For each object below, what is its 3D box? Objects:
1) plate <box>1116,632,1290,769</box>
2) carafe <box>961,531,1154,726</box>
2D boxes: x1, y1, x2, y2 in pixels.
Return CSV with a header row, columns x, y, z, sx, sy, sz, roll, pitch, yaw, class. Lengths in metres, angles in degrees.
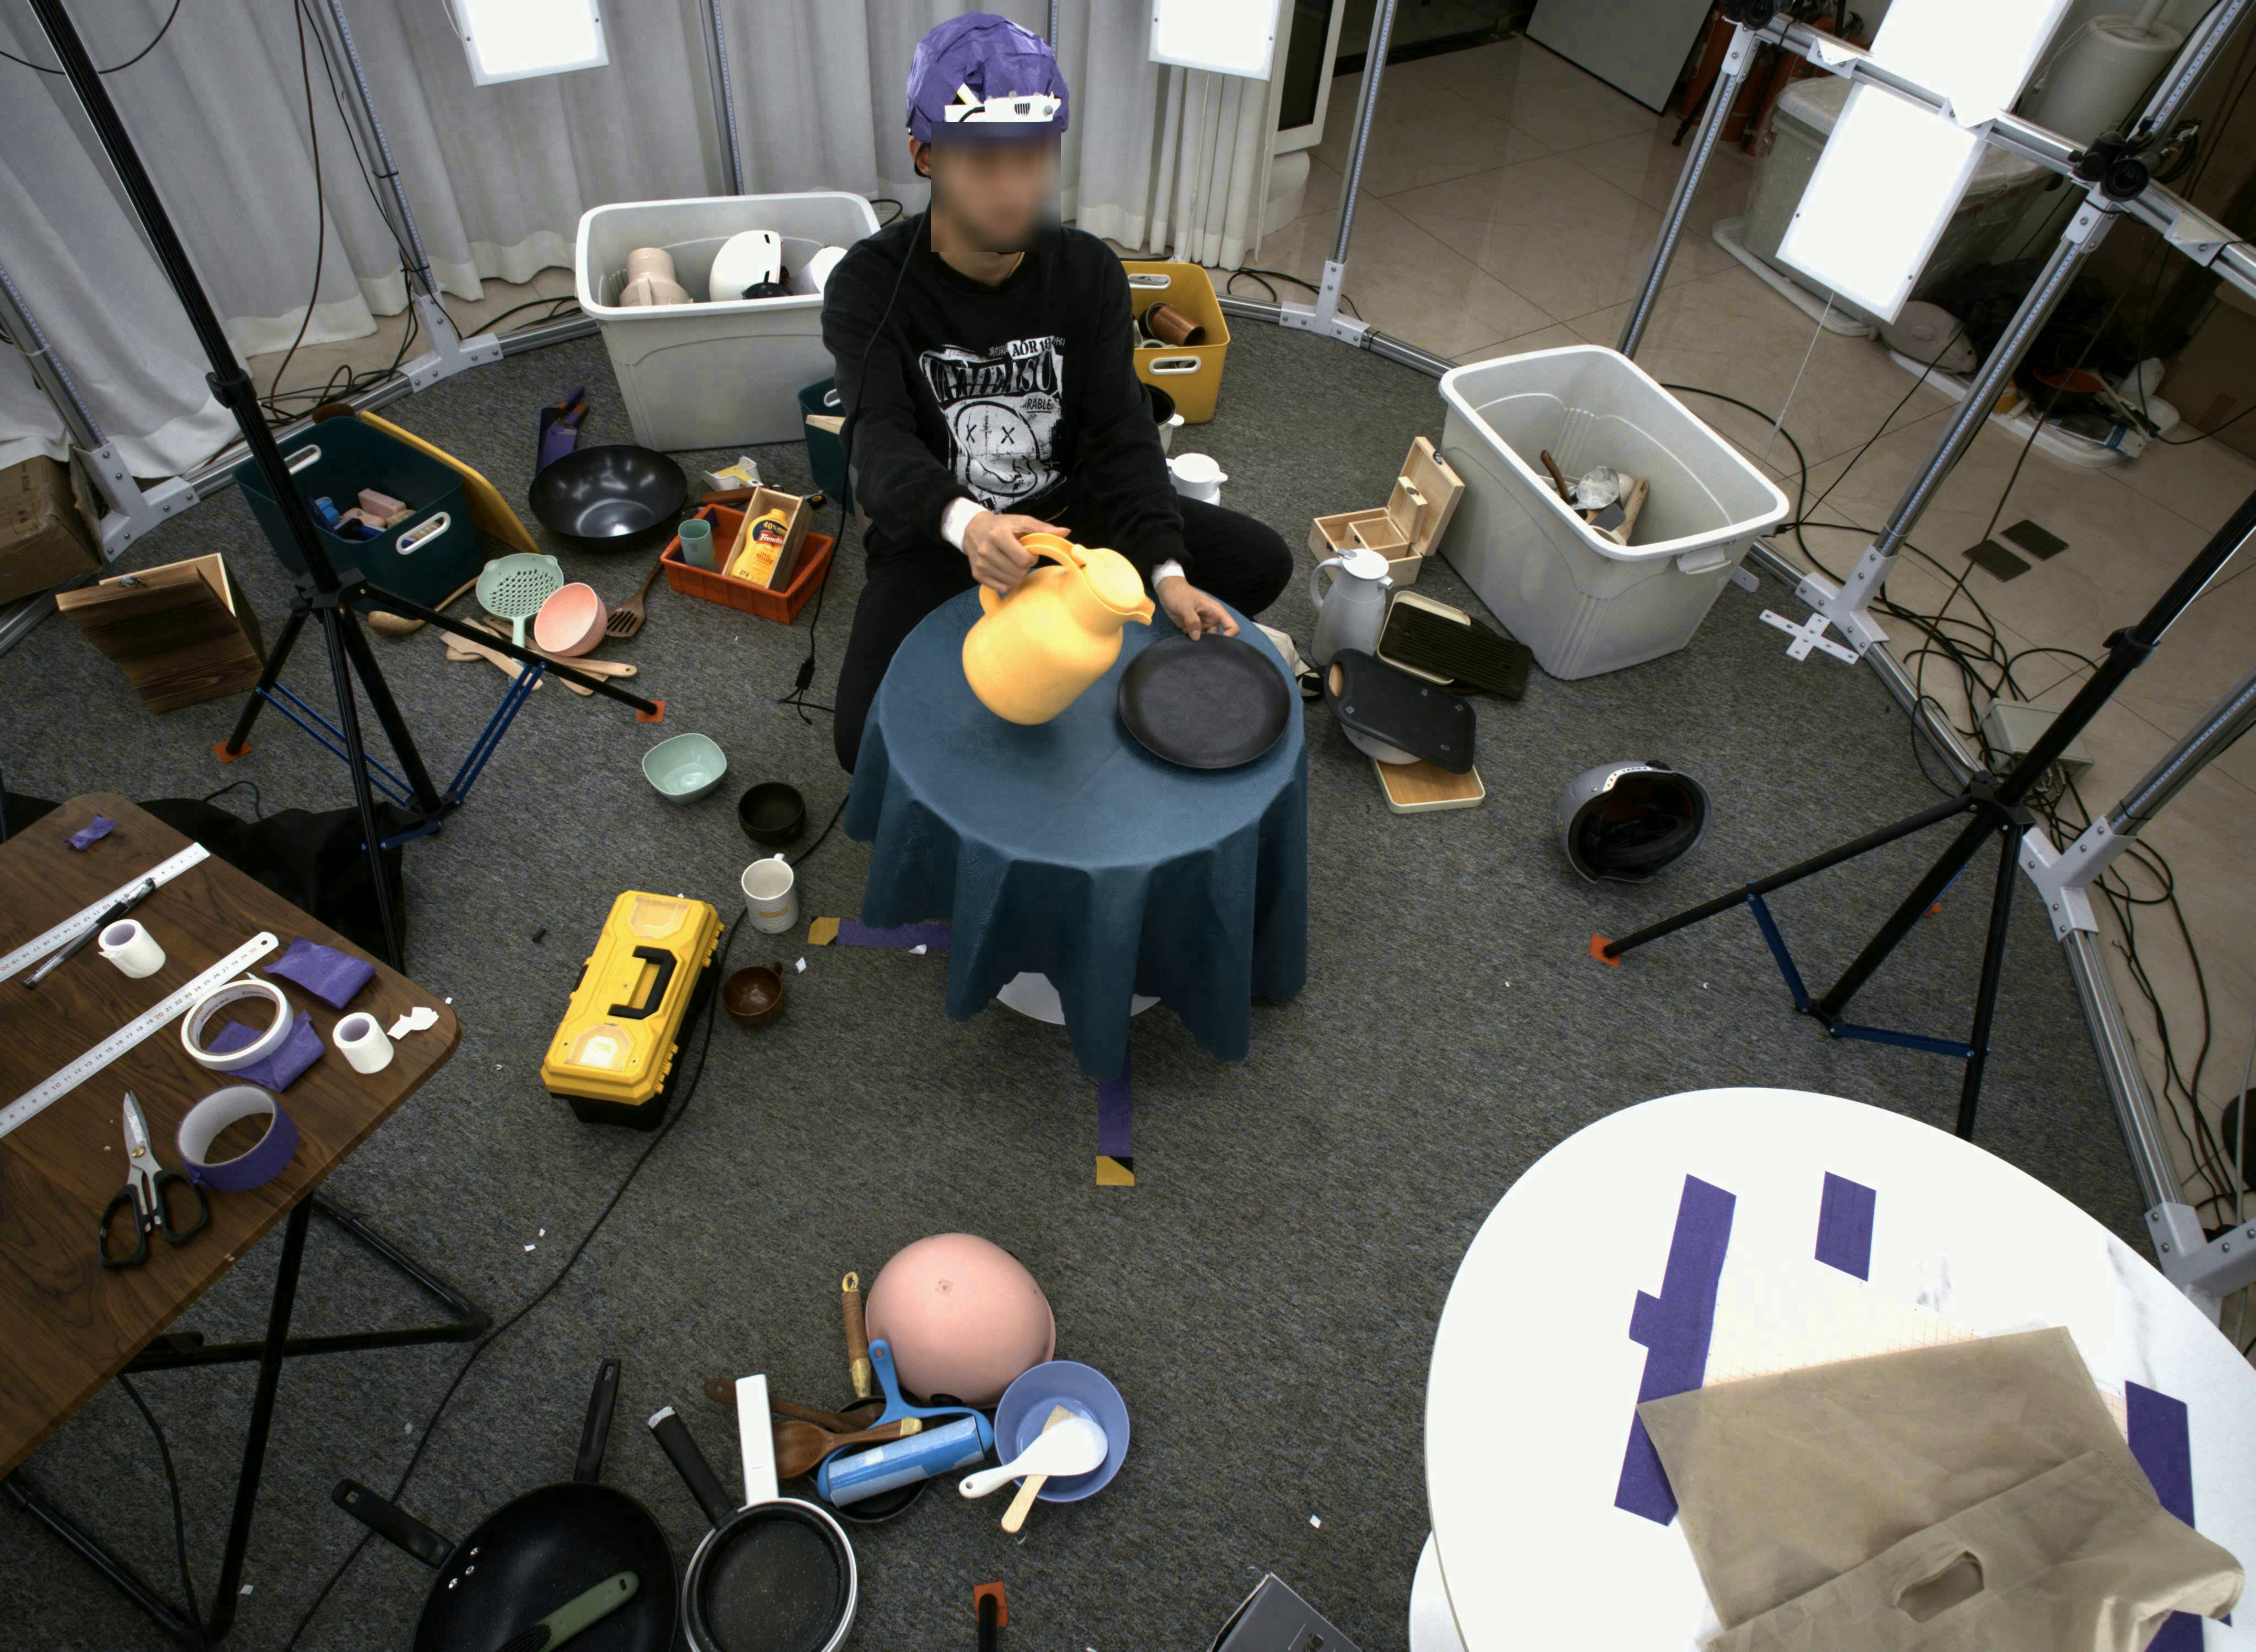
x,y,z,sx,sy,sz,roll,pitch,yaw,class
0.105,-0.174,1.798,0.244,0.023,0.250,1,55,-2,plate
-0.105,-0.262,1.648,0.200,0.257,0.167,36,42,-20,carafe
